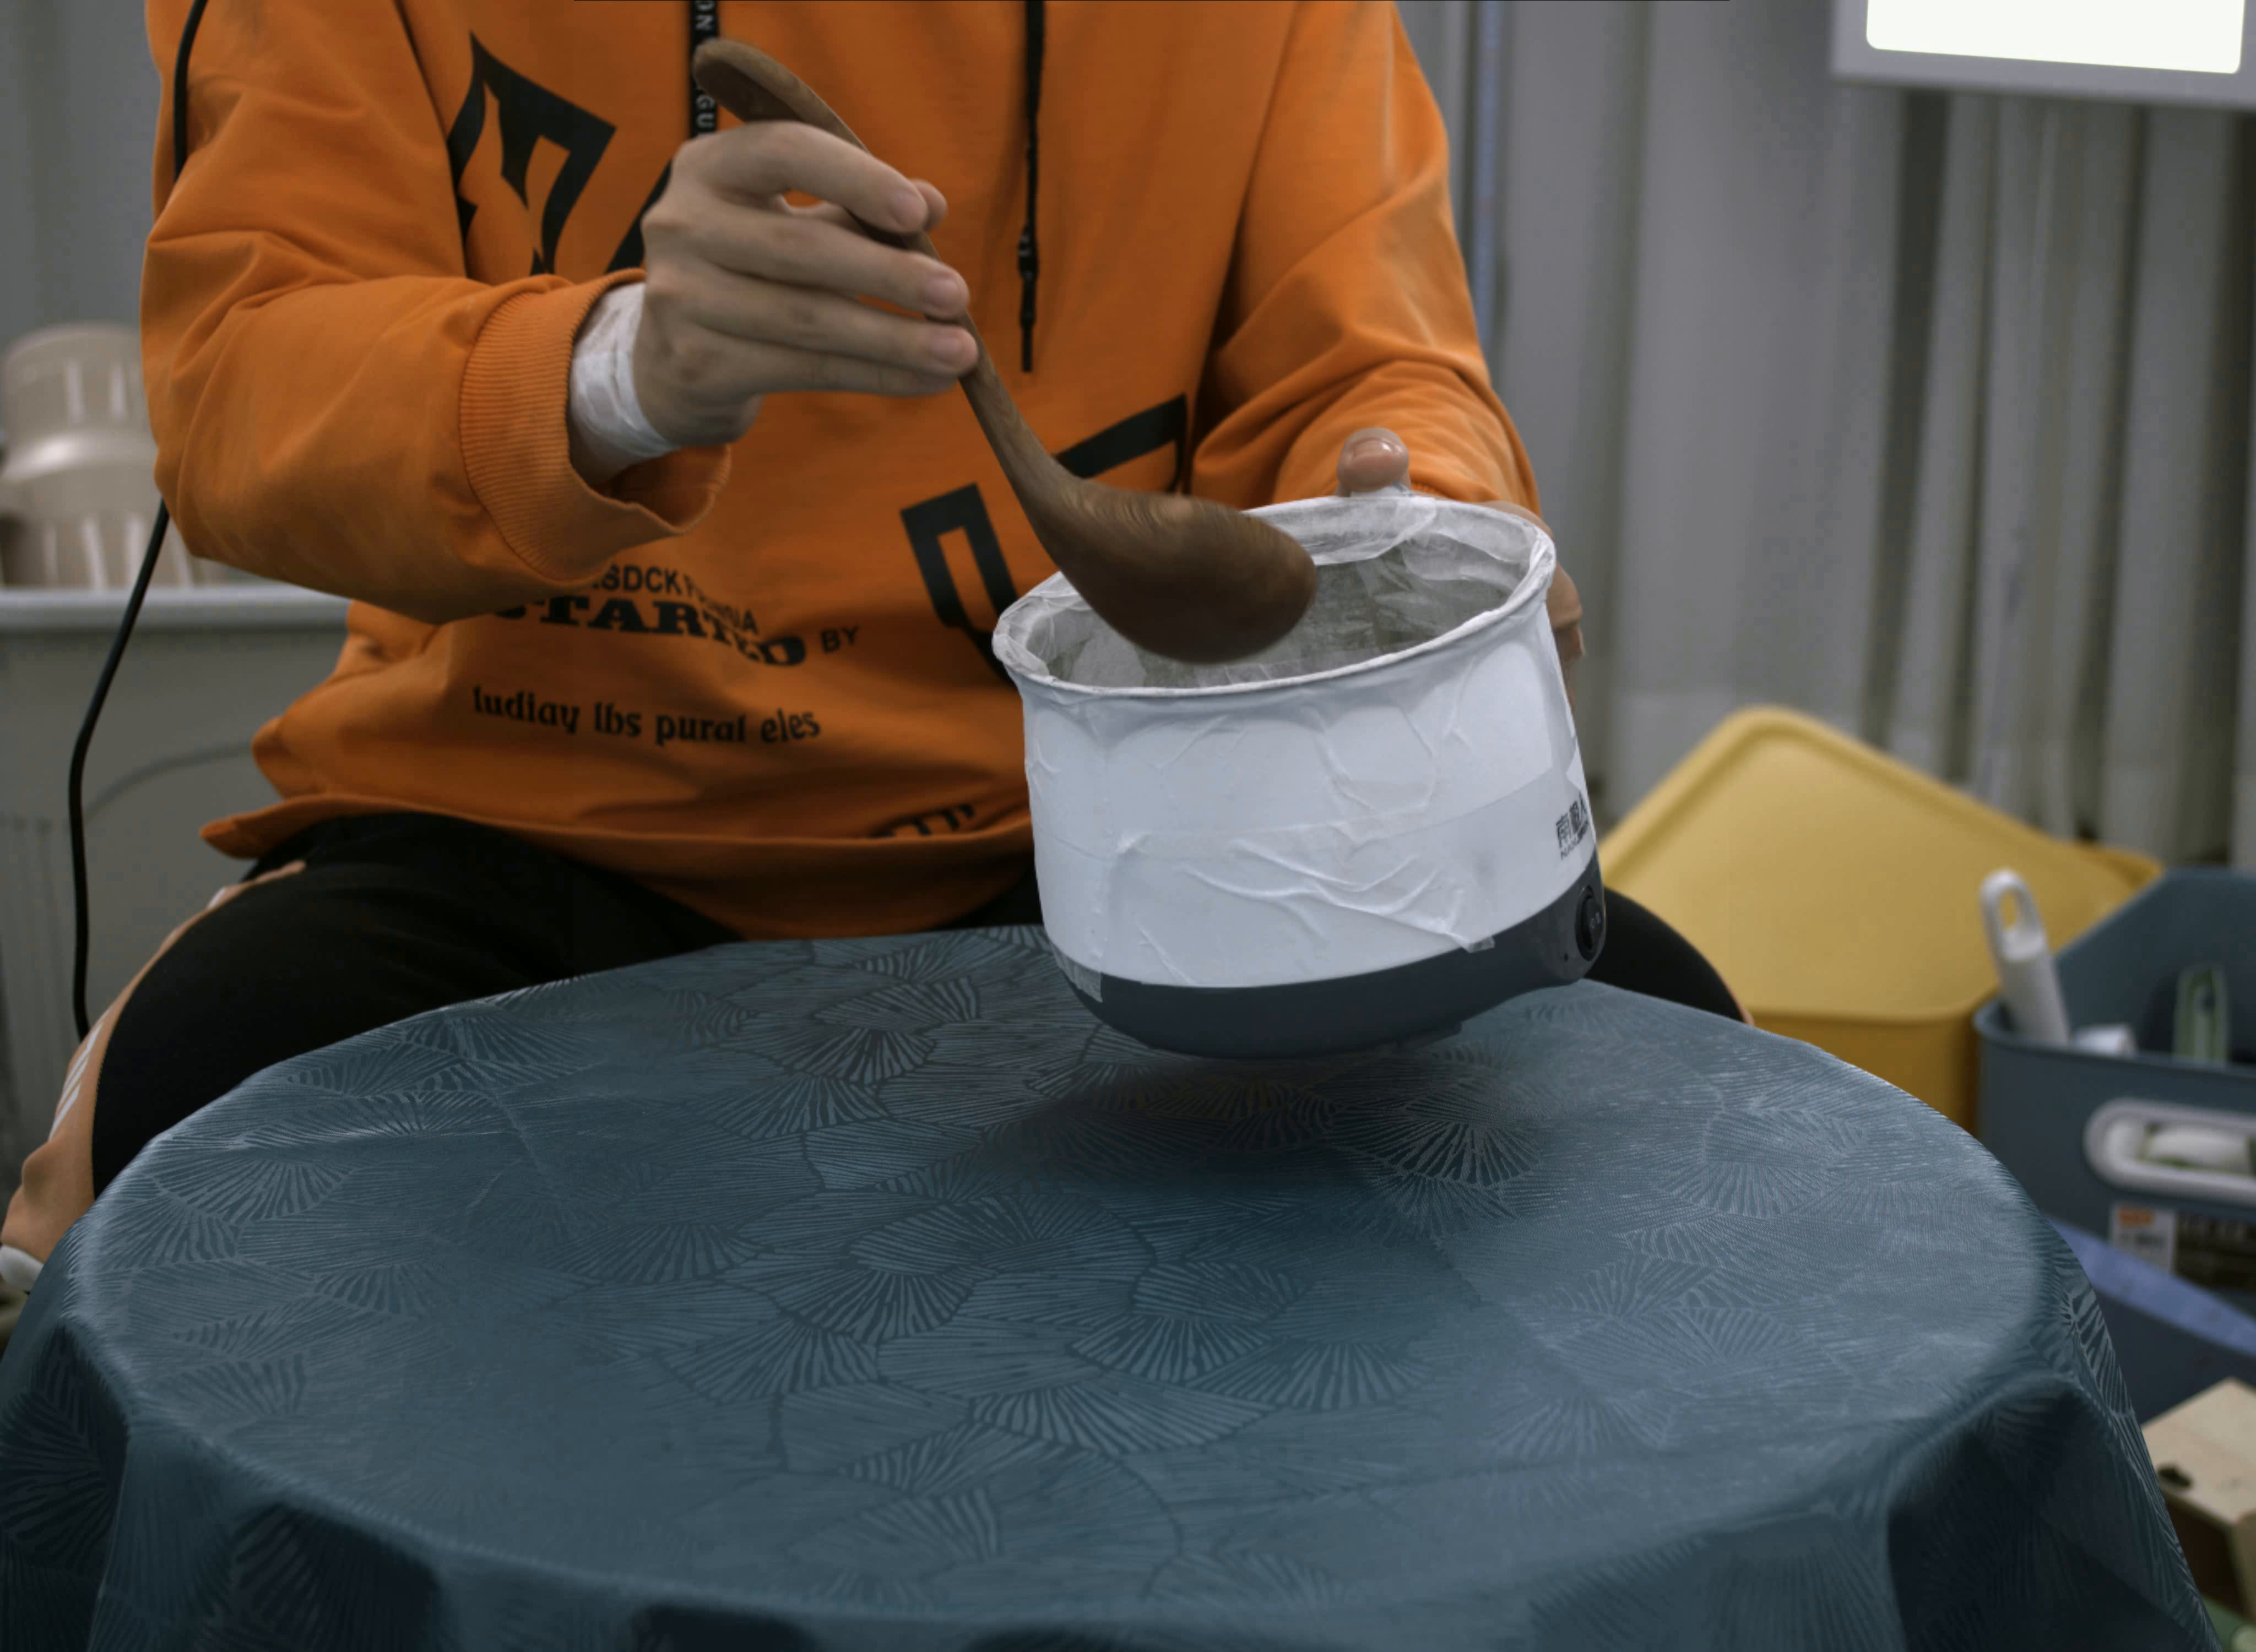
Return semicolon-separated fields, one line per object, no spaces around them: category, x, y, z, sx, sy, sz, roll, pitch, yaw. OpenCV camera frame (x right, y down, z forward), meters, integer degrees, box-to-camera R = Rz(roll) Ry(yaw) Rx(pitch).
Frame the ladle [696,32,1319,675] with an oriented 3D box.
ladle;-0.037;-0.153;1.641;0.065;0.260;0.076;-33;-6;-29

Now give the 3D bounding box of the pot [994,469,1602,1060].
pot;0.064;-0.025;1.679;0.177;0.138;0.233;-1;22;21
